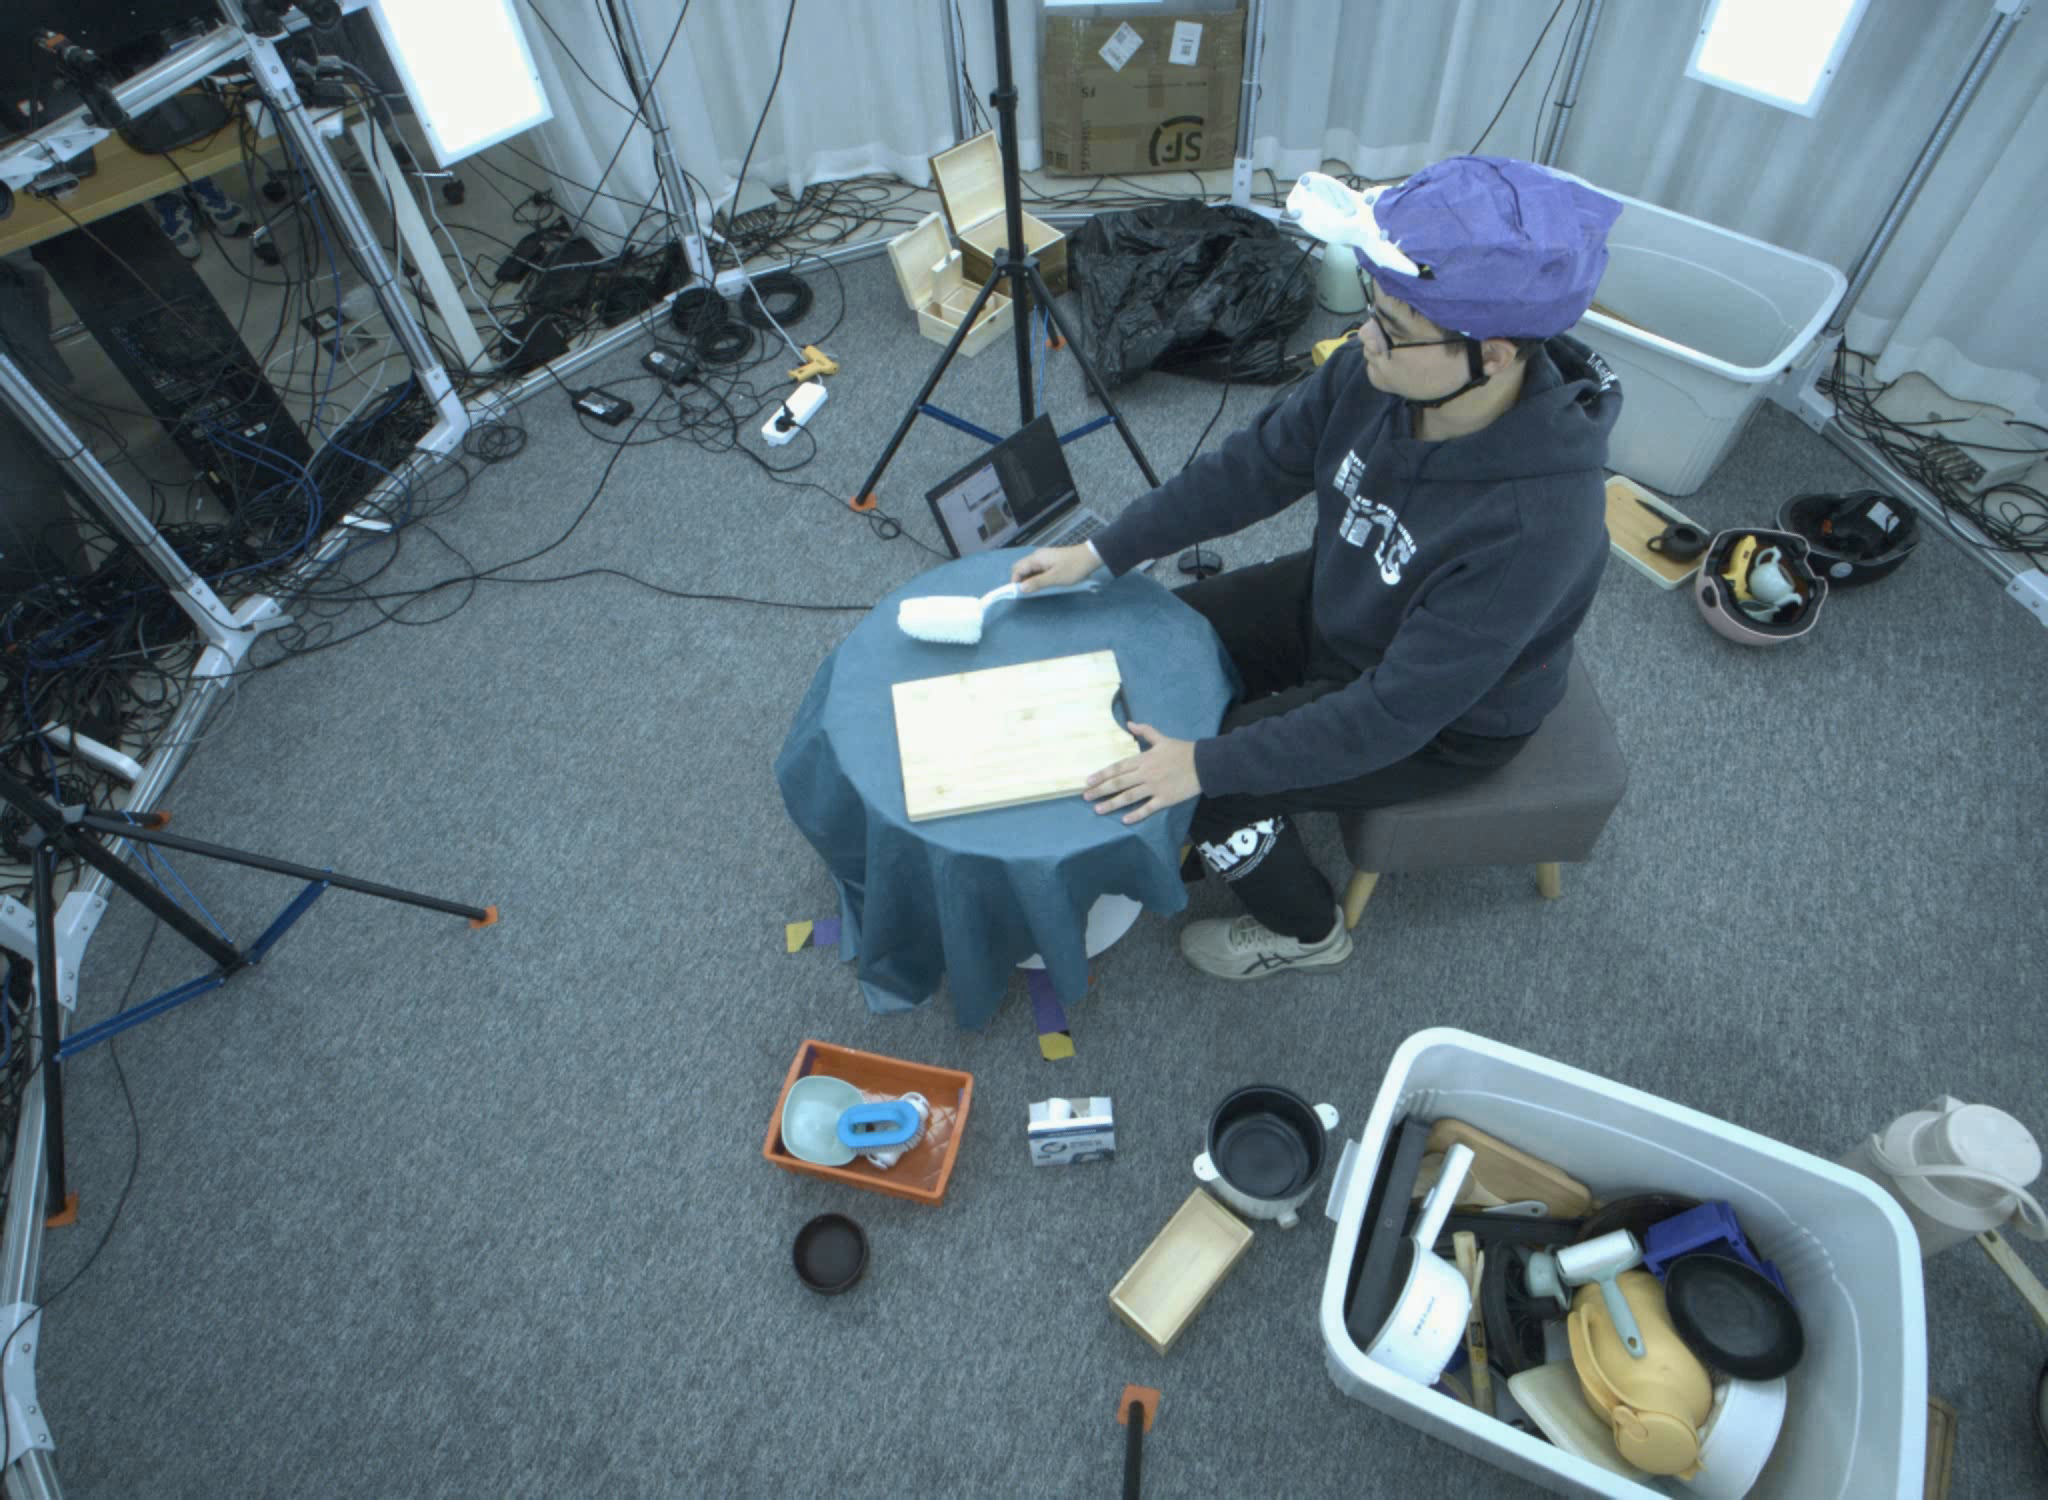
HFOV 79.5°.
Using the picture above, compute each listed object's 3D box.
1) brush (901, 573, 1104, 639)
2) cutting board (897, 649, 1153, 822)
[{"bbox_3d":[-0.028,-0.220,1.893,0.328,0.082,0.084,-8,91,-11],"label":"brush"},{"bbox_3d":[-0.008,-0.026,1.797,0.350,0.024,0.247,-10,56,-5],"label":"cutting board"}]
